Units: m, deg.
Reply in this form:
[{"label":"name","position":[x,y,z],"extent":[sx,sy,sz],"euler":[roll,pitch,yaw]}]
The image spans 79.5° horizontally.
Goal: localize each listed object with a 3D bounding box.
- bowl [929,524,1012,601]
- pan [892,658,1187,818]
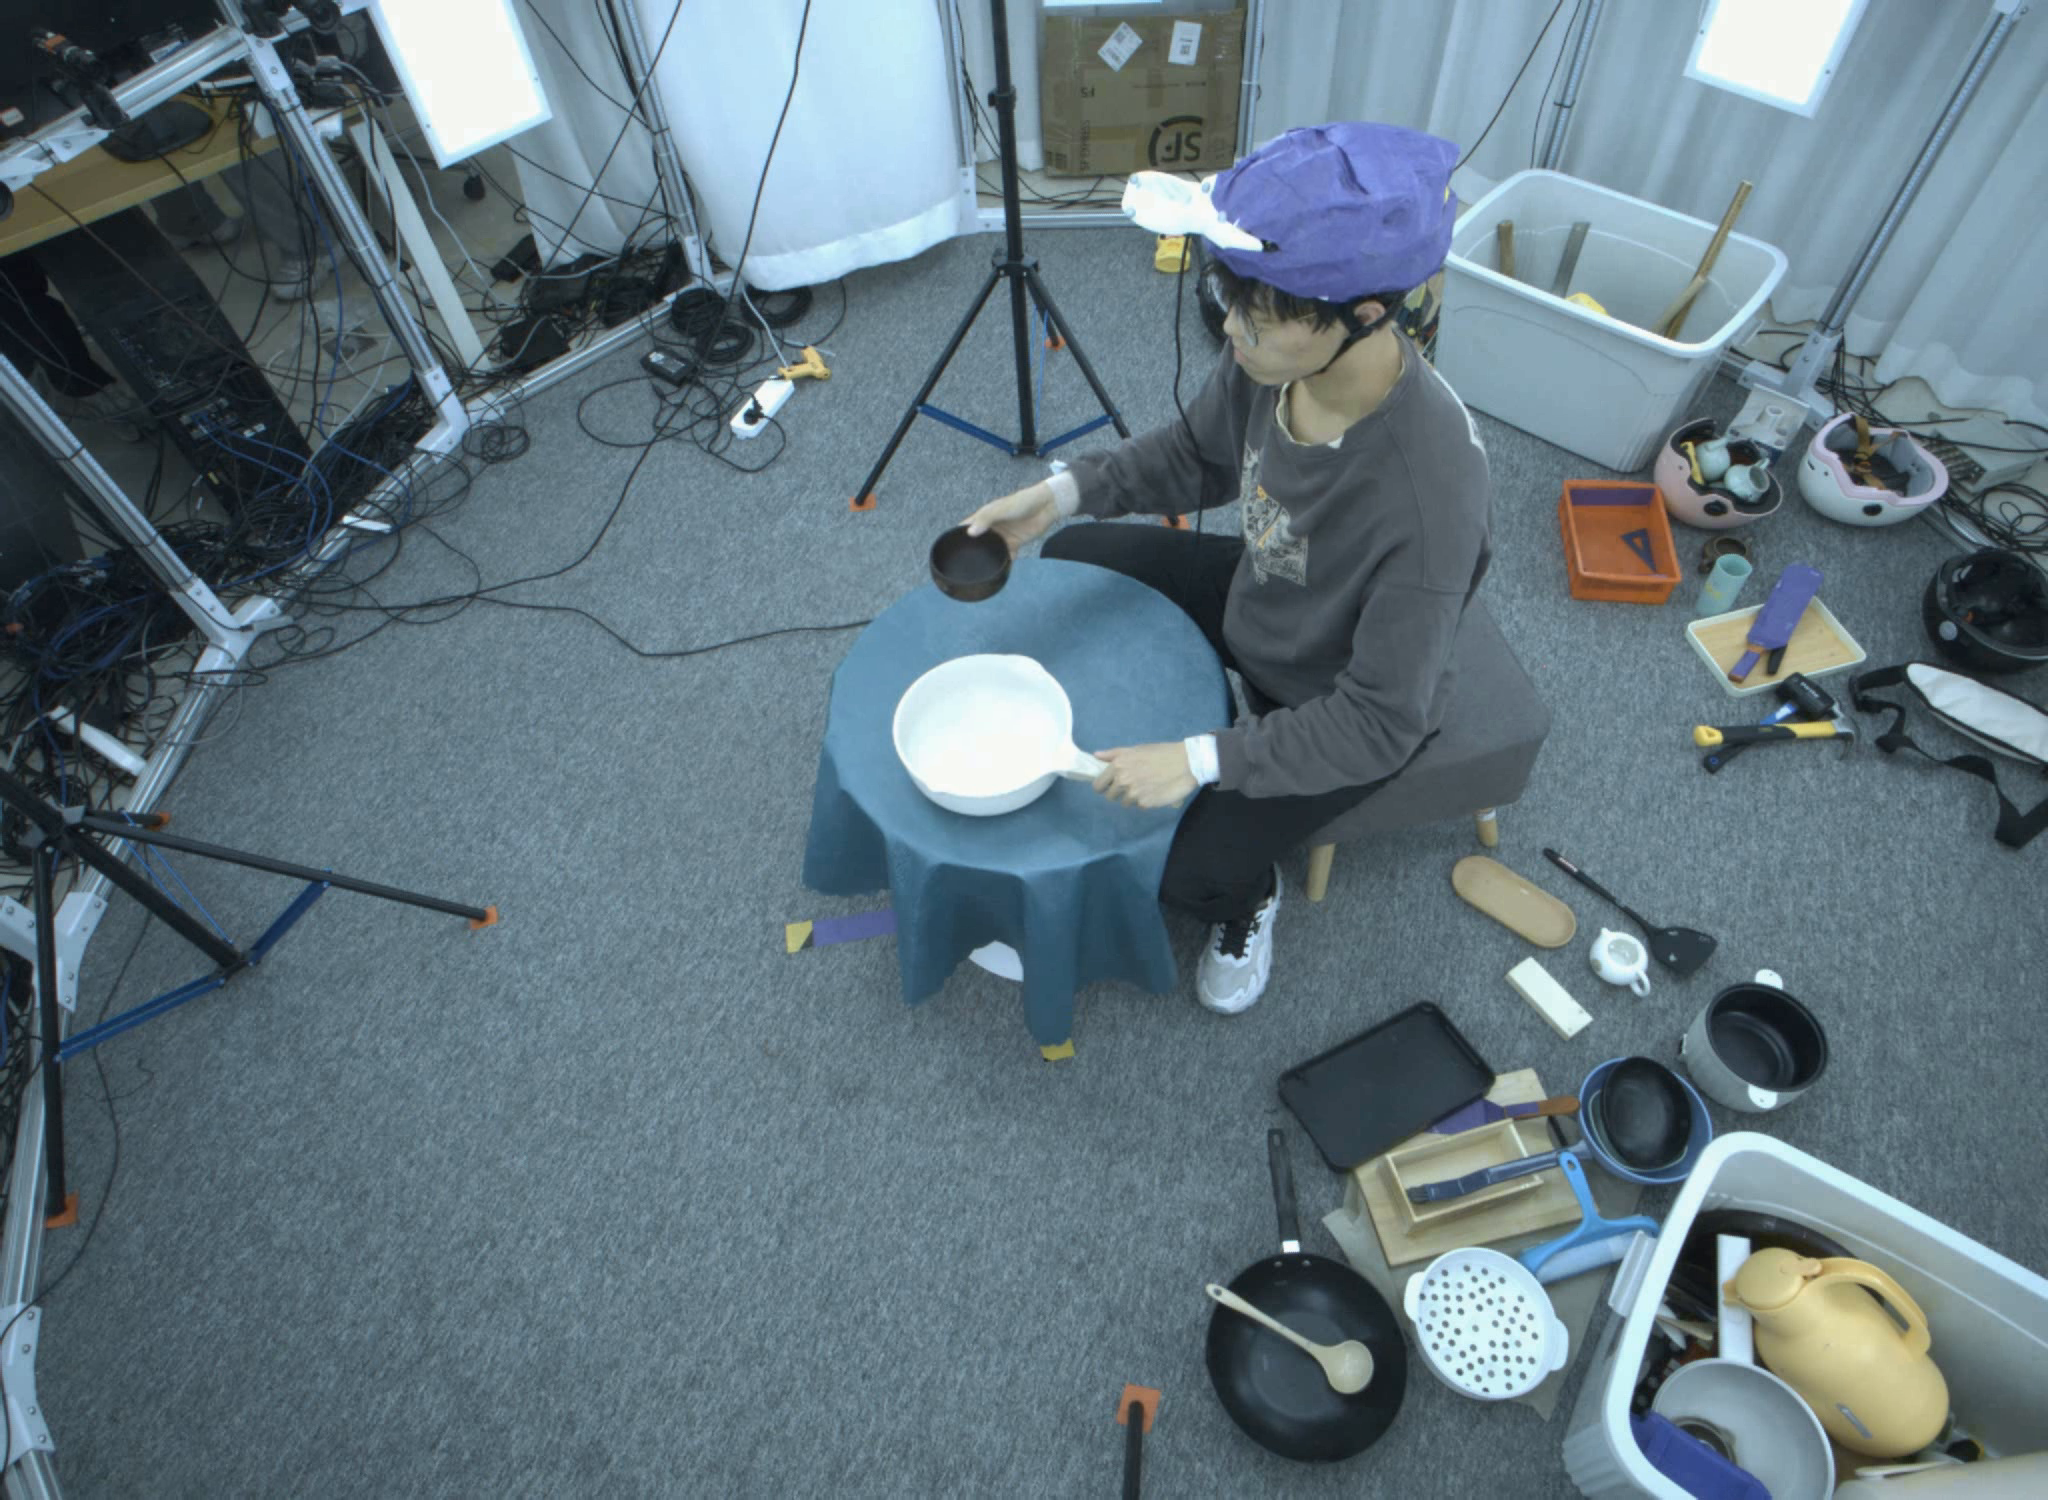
[{"label":"bowl","position":[-0.077,-0.263,1.767],"extent":[0.118,0.070,0.117],"euler":[0,56,1]},{"label":"pan","position":[0.022,0.017,1.711],"extent":[0.429,0.103,0.264],"euler":[23,56,17]}]
